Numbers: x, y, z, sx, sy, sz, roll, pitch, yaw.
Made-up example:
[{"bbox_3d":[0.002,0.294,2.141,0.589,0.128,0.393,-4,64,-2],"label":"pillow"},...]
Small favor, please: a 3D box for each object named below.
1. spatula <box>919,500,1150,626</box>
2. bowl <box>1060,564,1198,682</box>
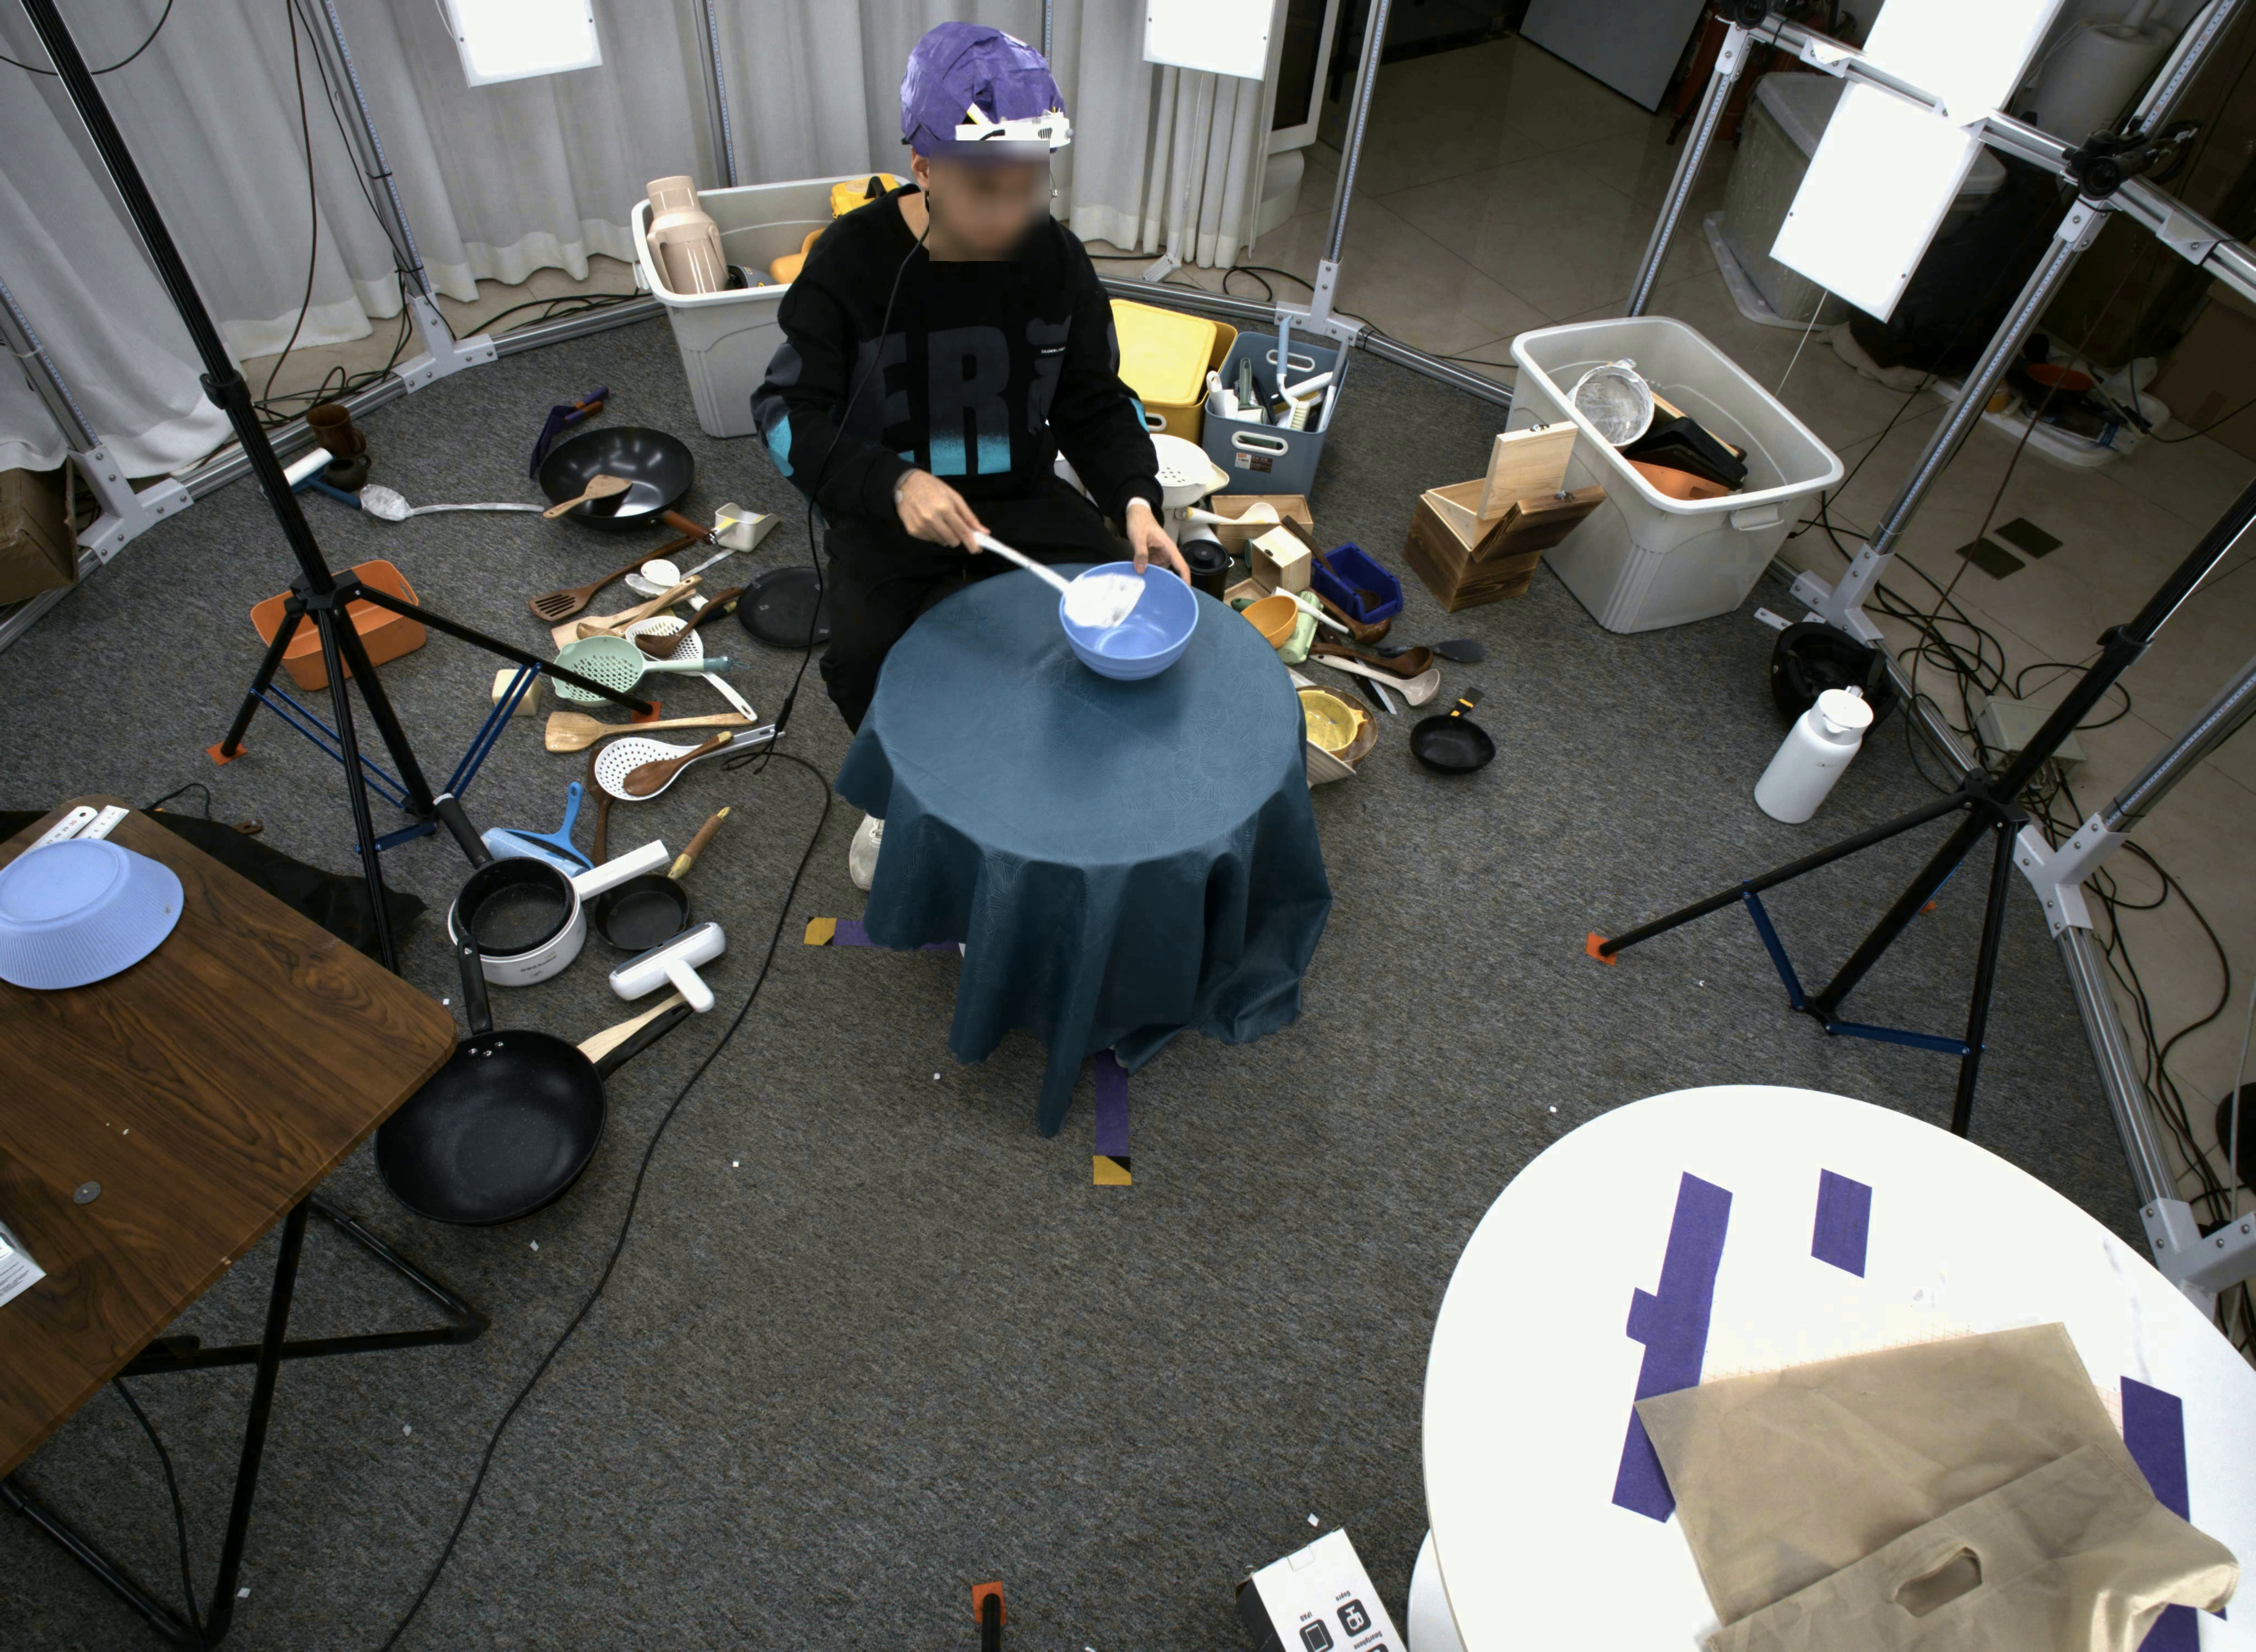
[{"bbox_3d":[-0.142,-0.373,1.765,0.367,0.044,0.100,29,66,12],"label":"spatula"},{"bbox_3d":[0.001,-0.278,1.860,0.196,0.093,0.201,0,52,0],"label":"bowl"}]
